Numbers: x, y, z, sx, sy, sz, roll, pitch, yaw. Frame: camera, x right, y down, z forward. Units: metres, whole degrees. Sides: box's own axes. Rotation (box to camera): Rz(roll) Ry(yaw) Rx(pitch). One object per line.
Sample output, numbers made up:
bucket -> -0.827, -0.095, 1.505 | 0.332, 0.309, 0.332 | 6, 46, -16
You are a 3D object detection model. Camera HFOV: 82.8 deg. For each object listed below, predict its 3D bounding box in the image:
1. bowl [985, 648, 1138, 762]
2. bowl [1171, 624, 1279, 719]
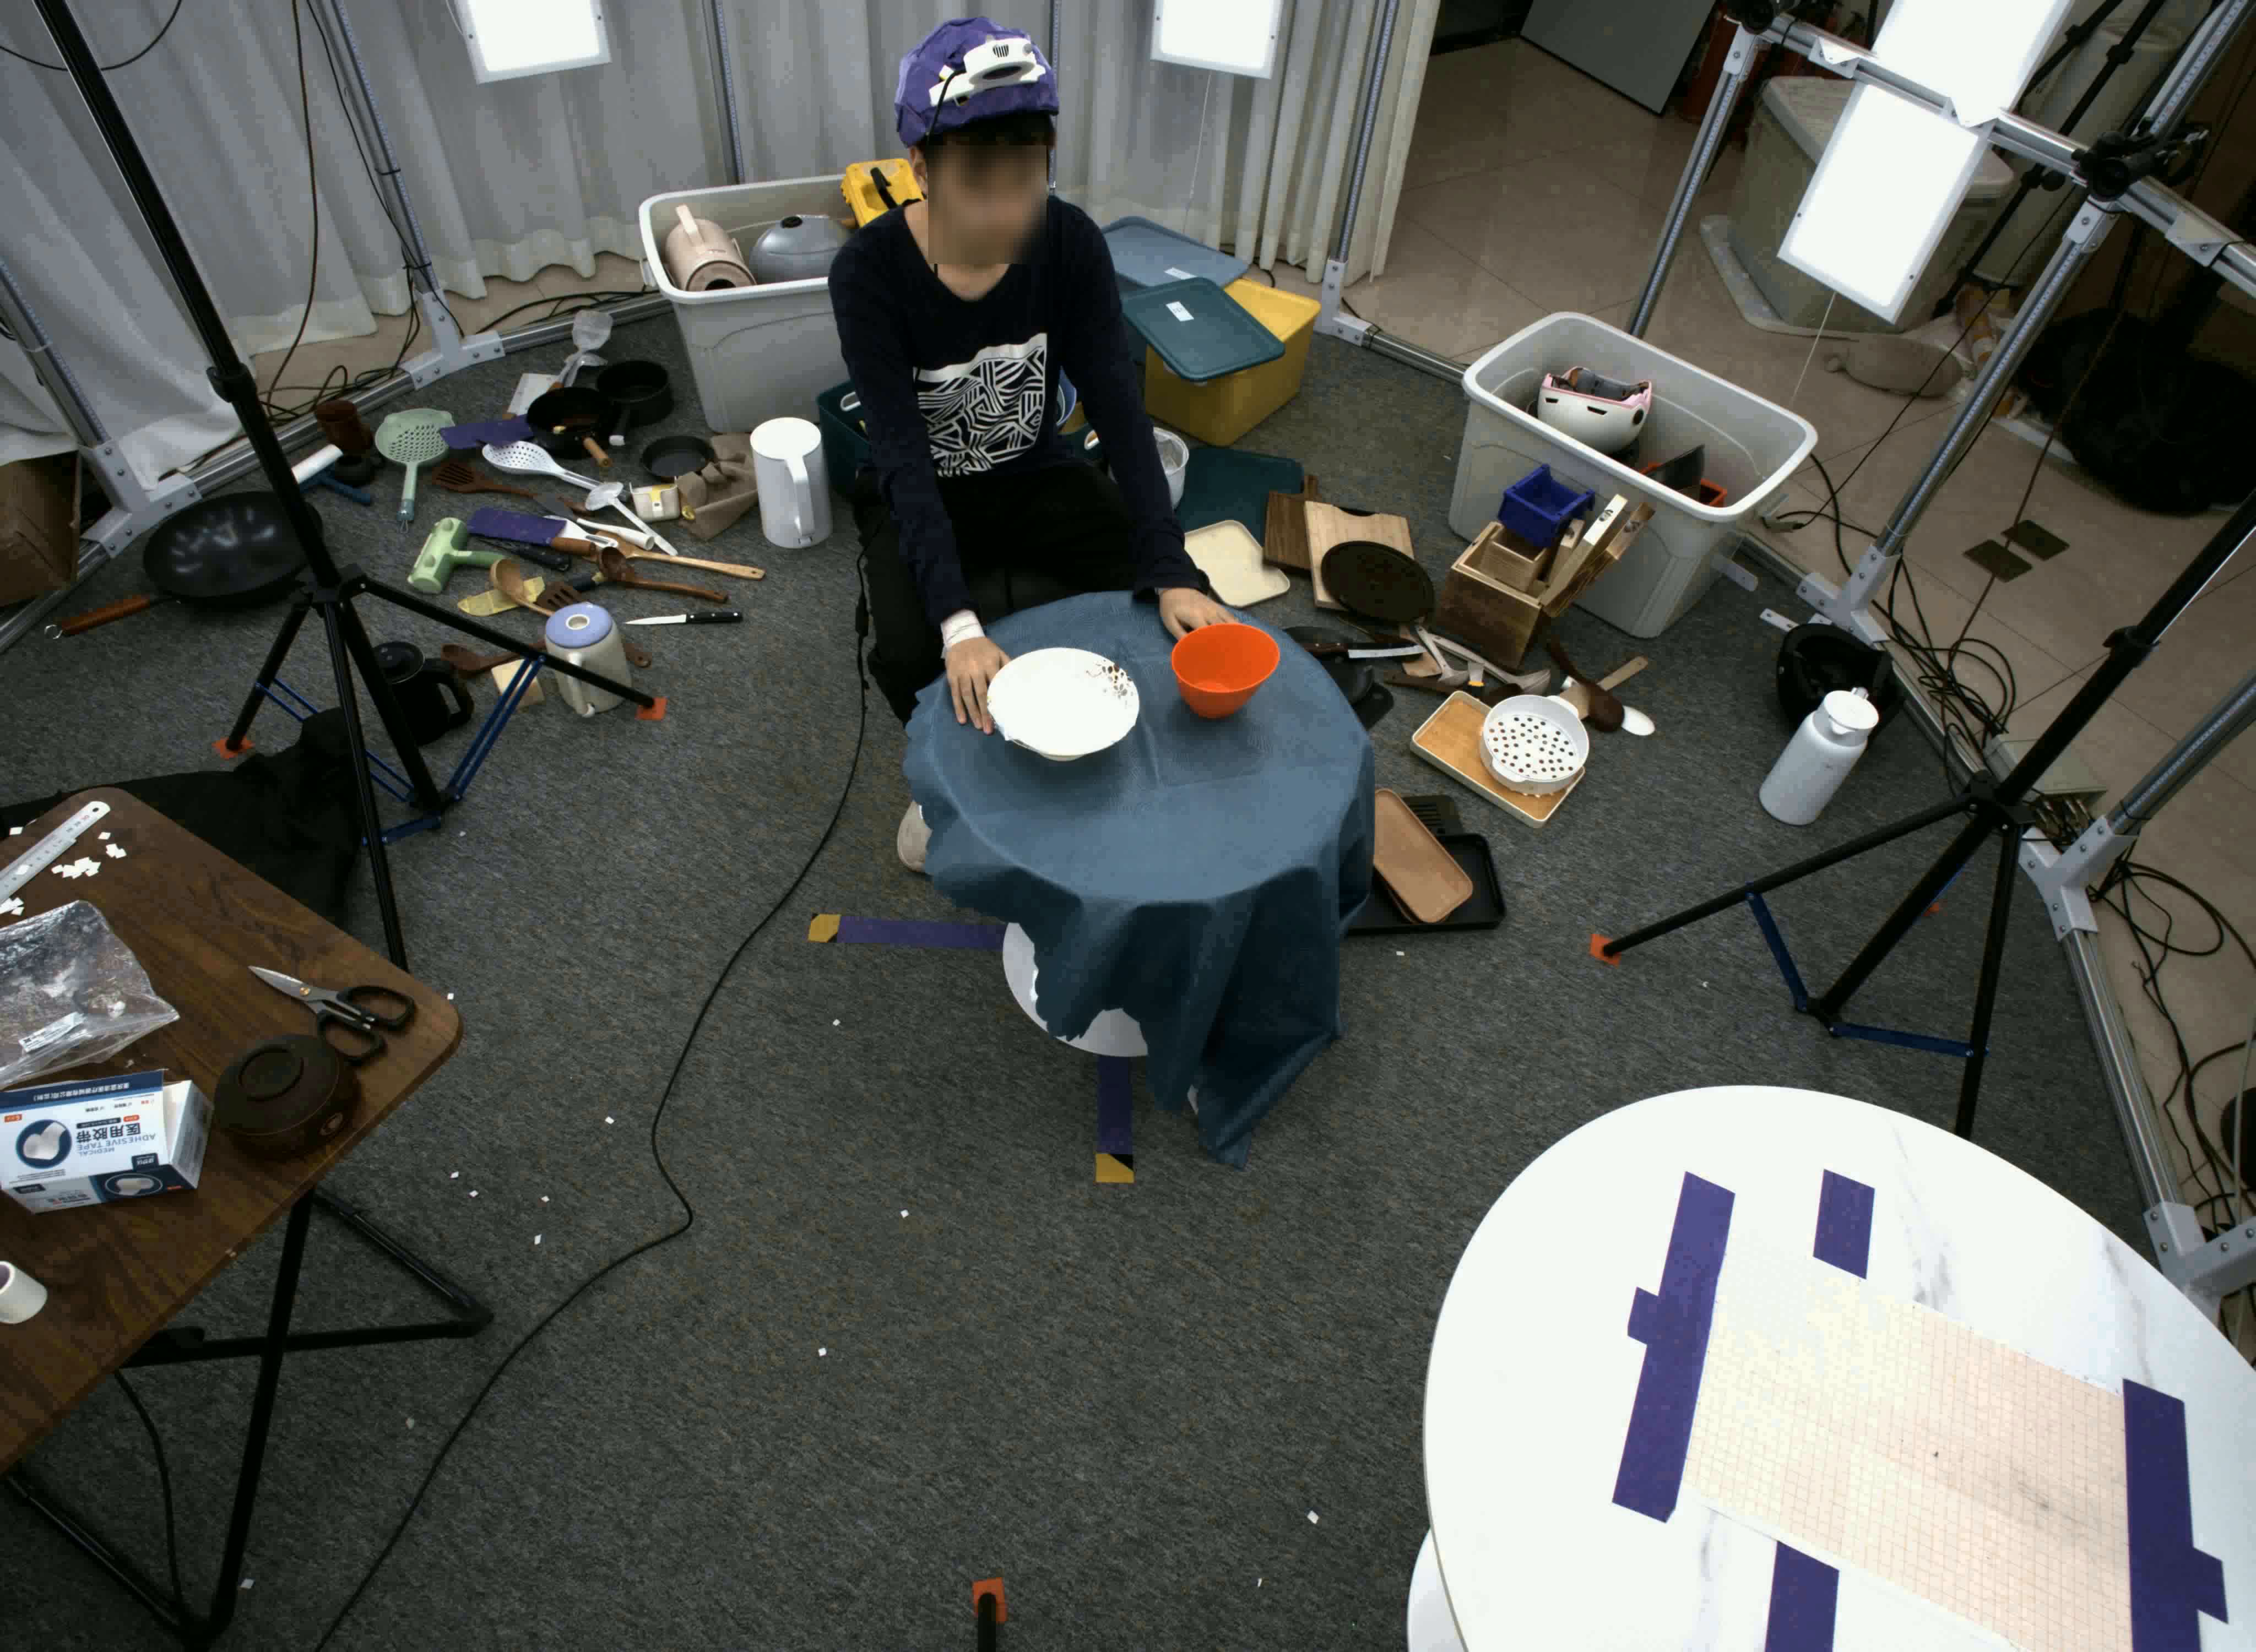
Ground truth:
bowl -> -0.090, -0.144, 1.737 | 0.204, 0.076, 0.209 | 2, 49, -3
bowl -> 0.131, -0.205, 1.790 | 0.148, 0.102, 0.152 | 1, 49, -1
